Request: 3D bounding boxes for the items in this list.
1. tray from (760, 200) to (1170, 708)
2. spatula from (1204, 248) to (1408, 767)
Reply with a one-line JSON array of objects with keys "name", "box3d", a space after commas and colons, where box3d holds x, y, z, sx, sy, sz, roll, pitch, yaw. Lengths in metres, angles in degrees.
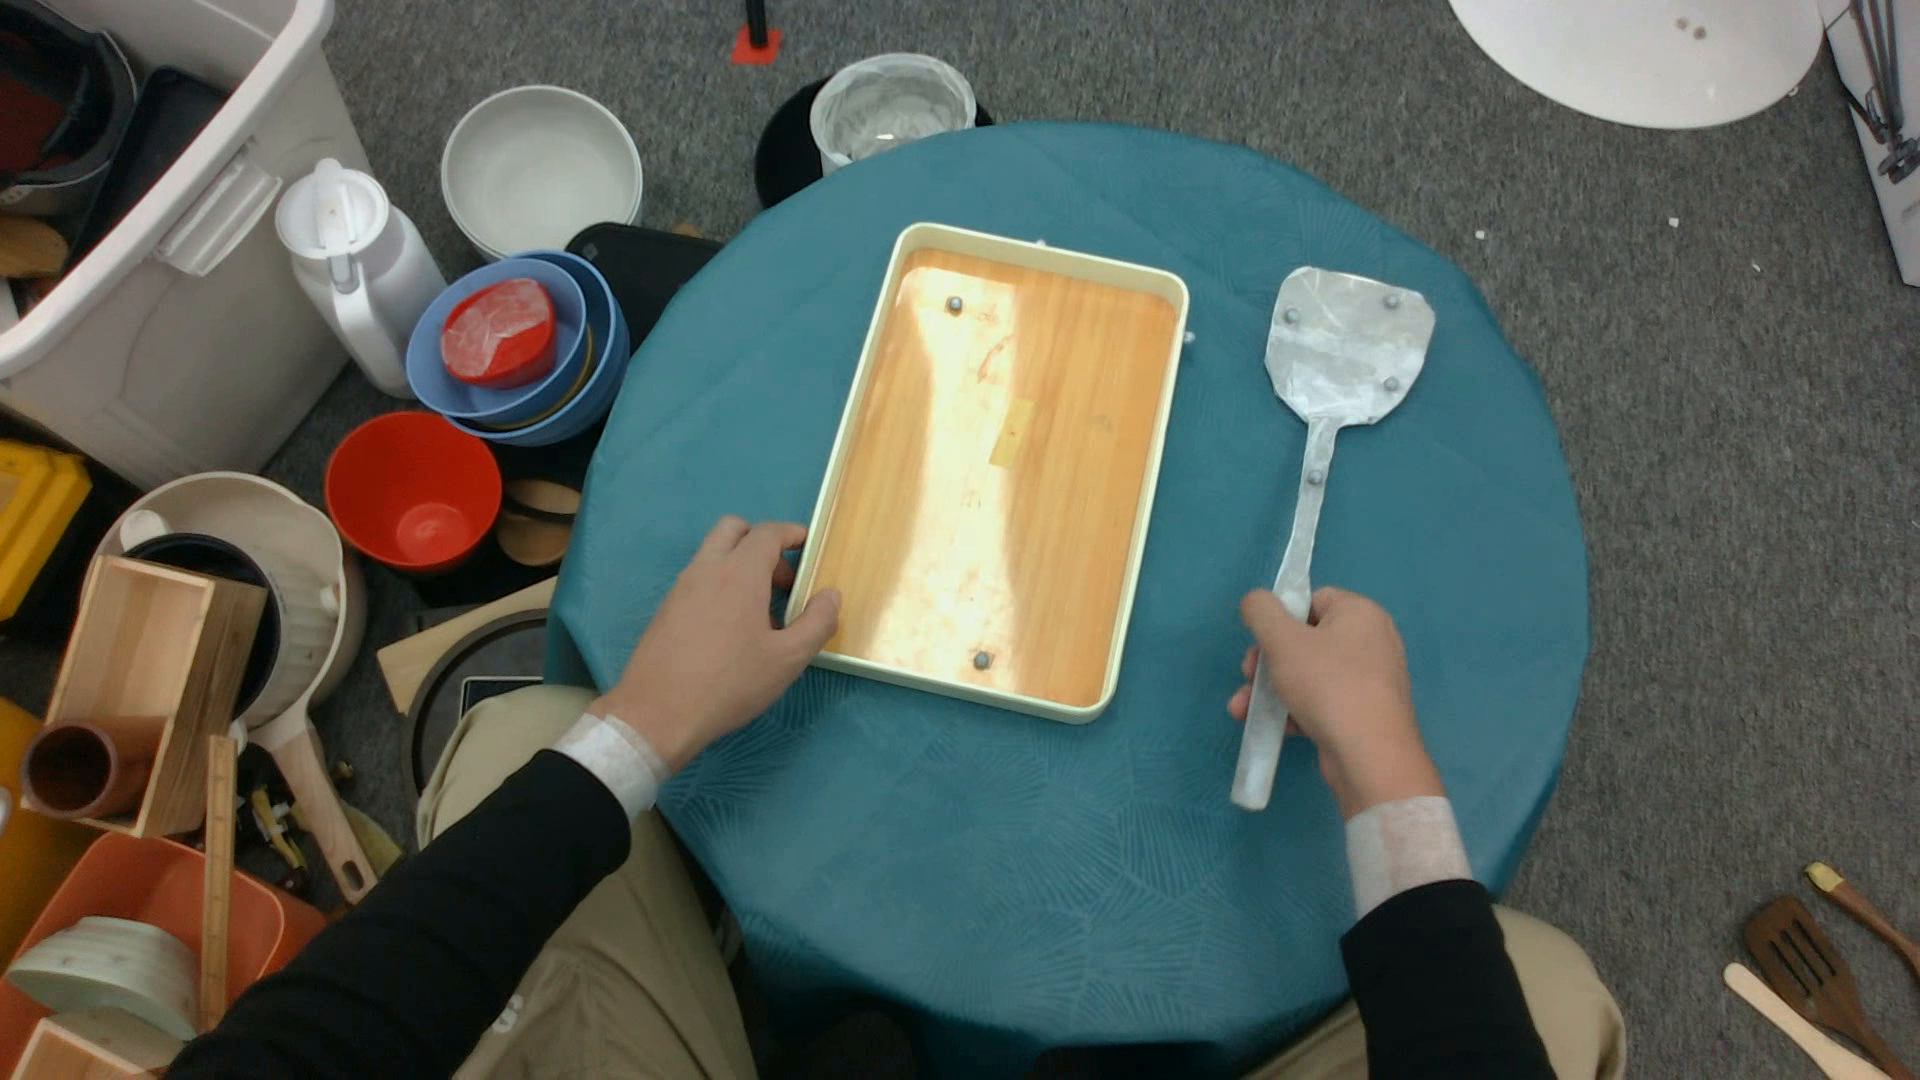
[{"name": "tray", "box3d": [0.010, -0.060, 0.823, 0.191, 0.027, 0.301, 13, 67, 2]}, {"name": "spatula", "box3d": [0.189, -0.031, 0.788, 0.098, 0.044, 0.367, 18, 53, 4]}]
